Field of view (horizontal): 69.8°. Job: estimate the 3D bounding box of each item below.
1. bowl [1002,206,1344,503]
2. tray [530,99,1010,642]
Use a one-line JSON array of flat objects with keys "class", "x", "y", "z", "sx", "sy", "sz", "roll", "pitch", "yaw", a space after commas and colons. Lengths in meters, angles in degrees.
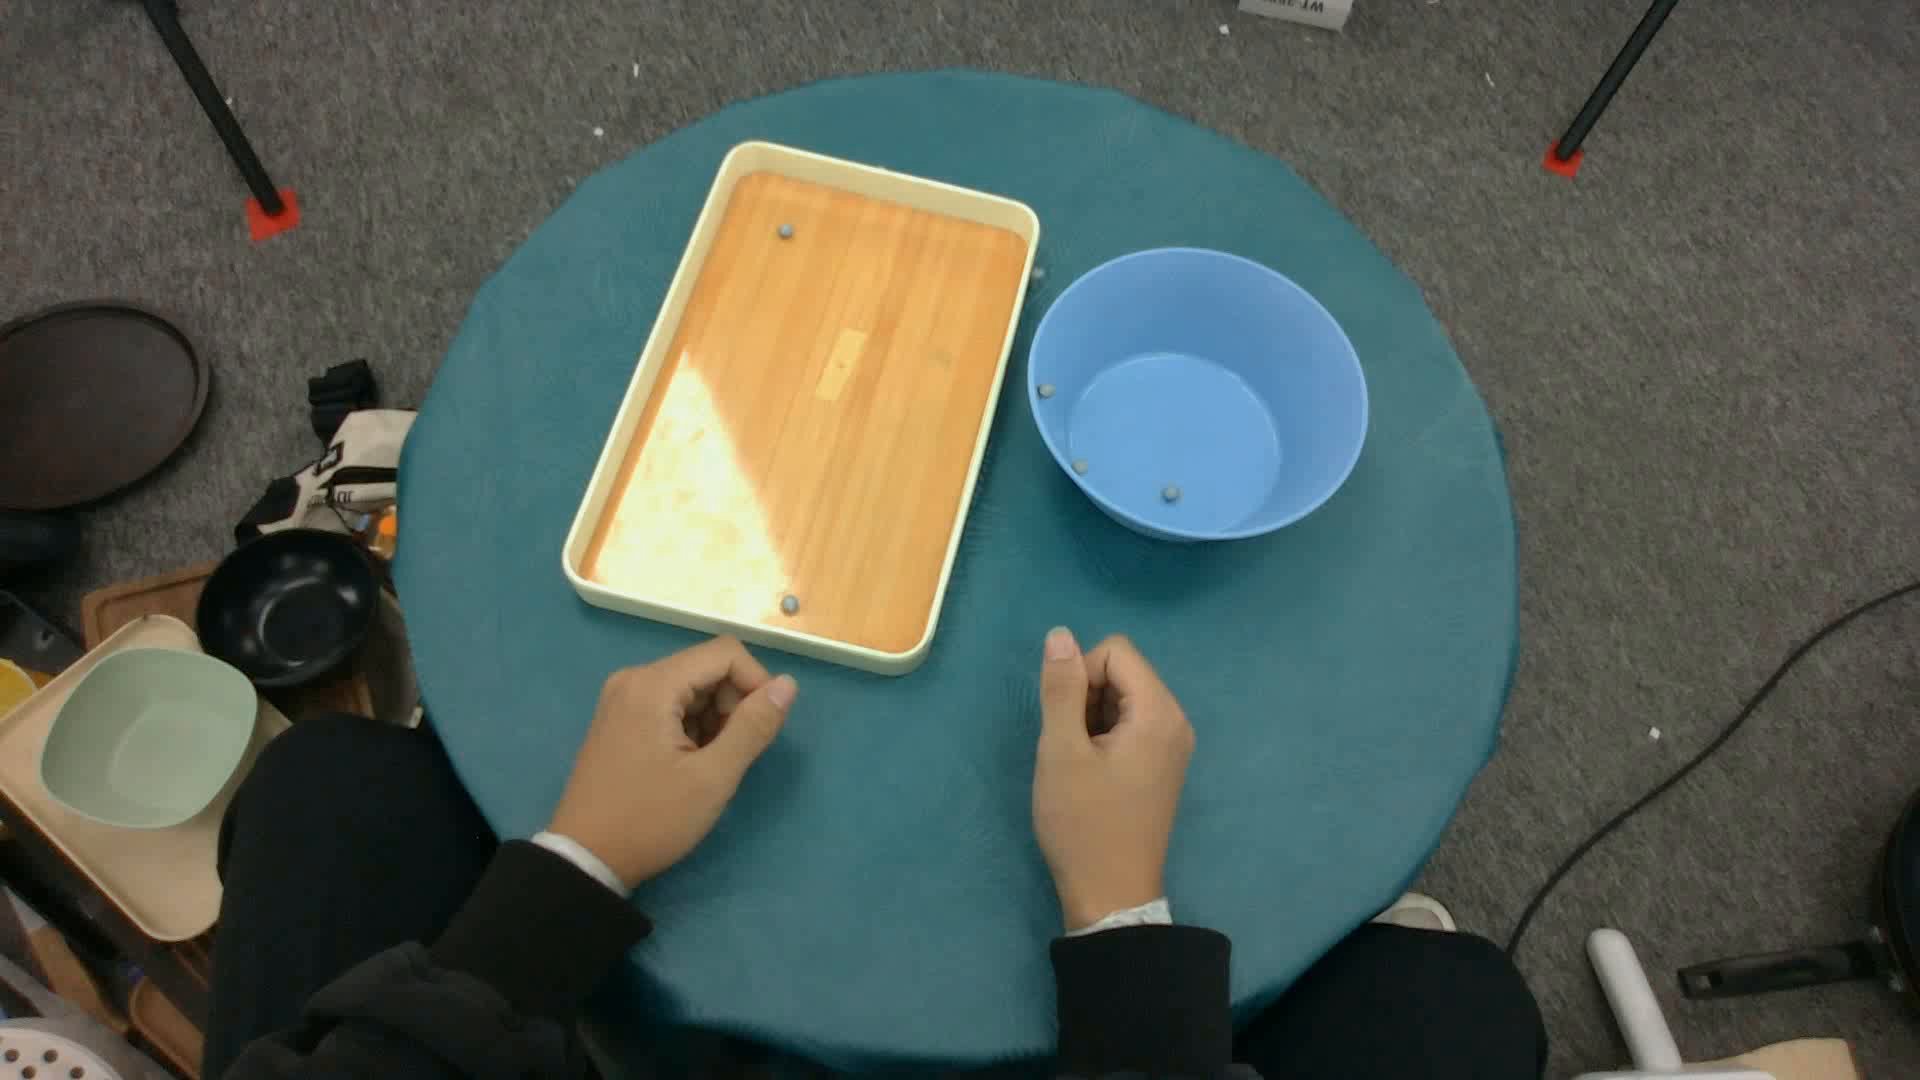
[{"class": "bowl", "x": 0.108, "y": -0.087, "z": 0.731, "sx": 0.176, "sy": 0.070, "sz": 0.176, "roll": 2, "pitch": 65, "yaw": -3}, {"class": "tray", "x": -0.092, "y": -0.102, "z": 0.744, "sx": 0.191, "sy": 0.027, "sz": 0.301, "roll": 14, "pitch": 64, "yaw": 1}]
